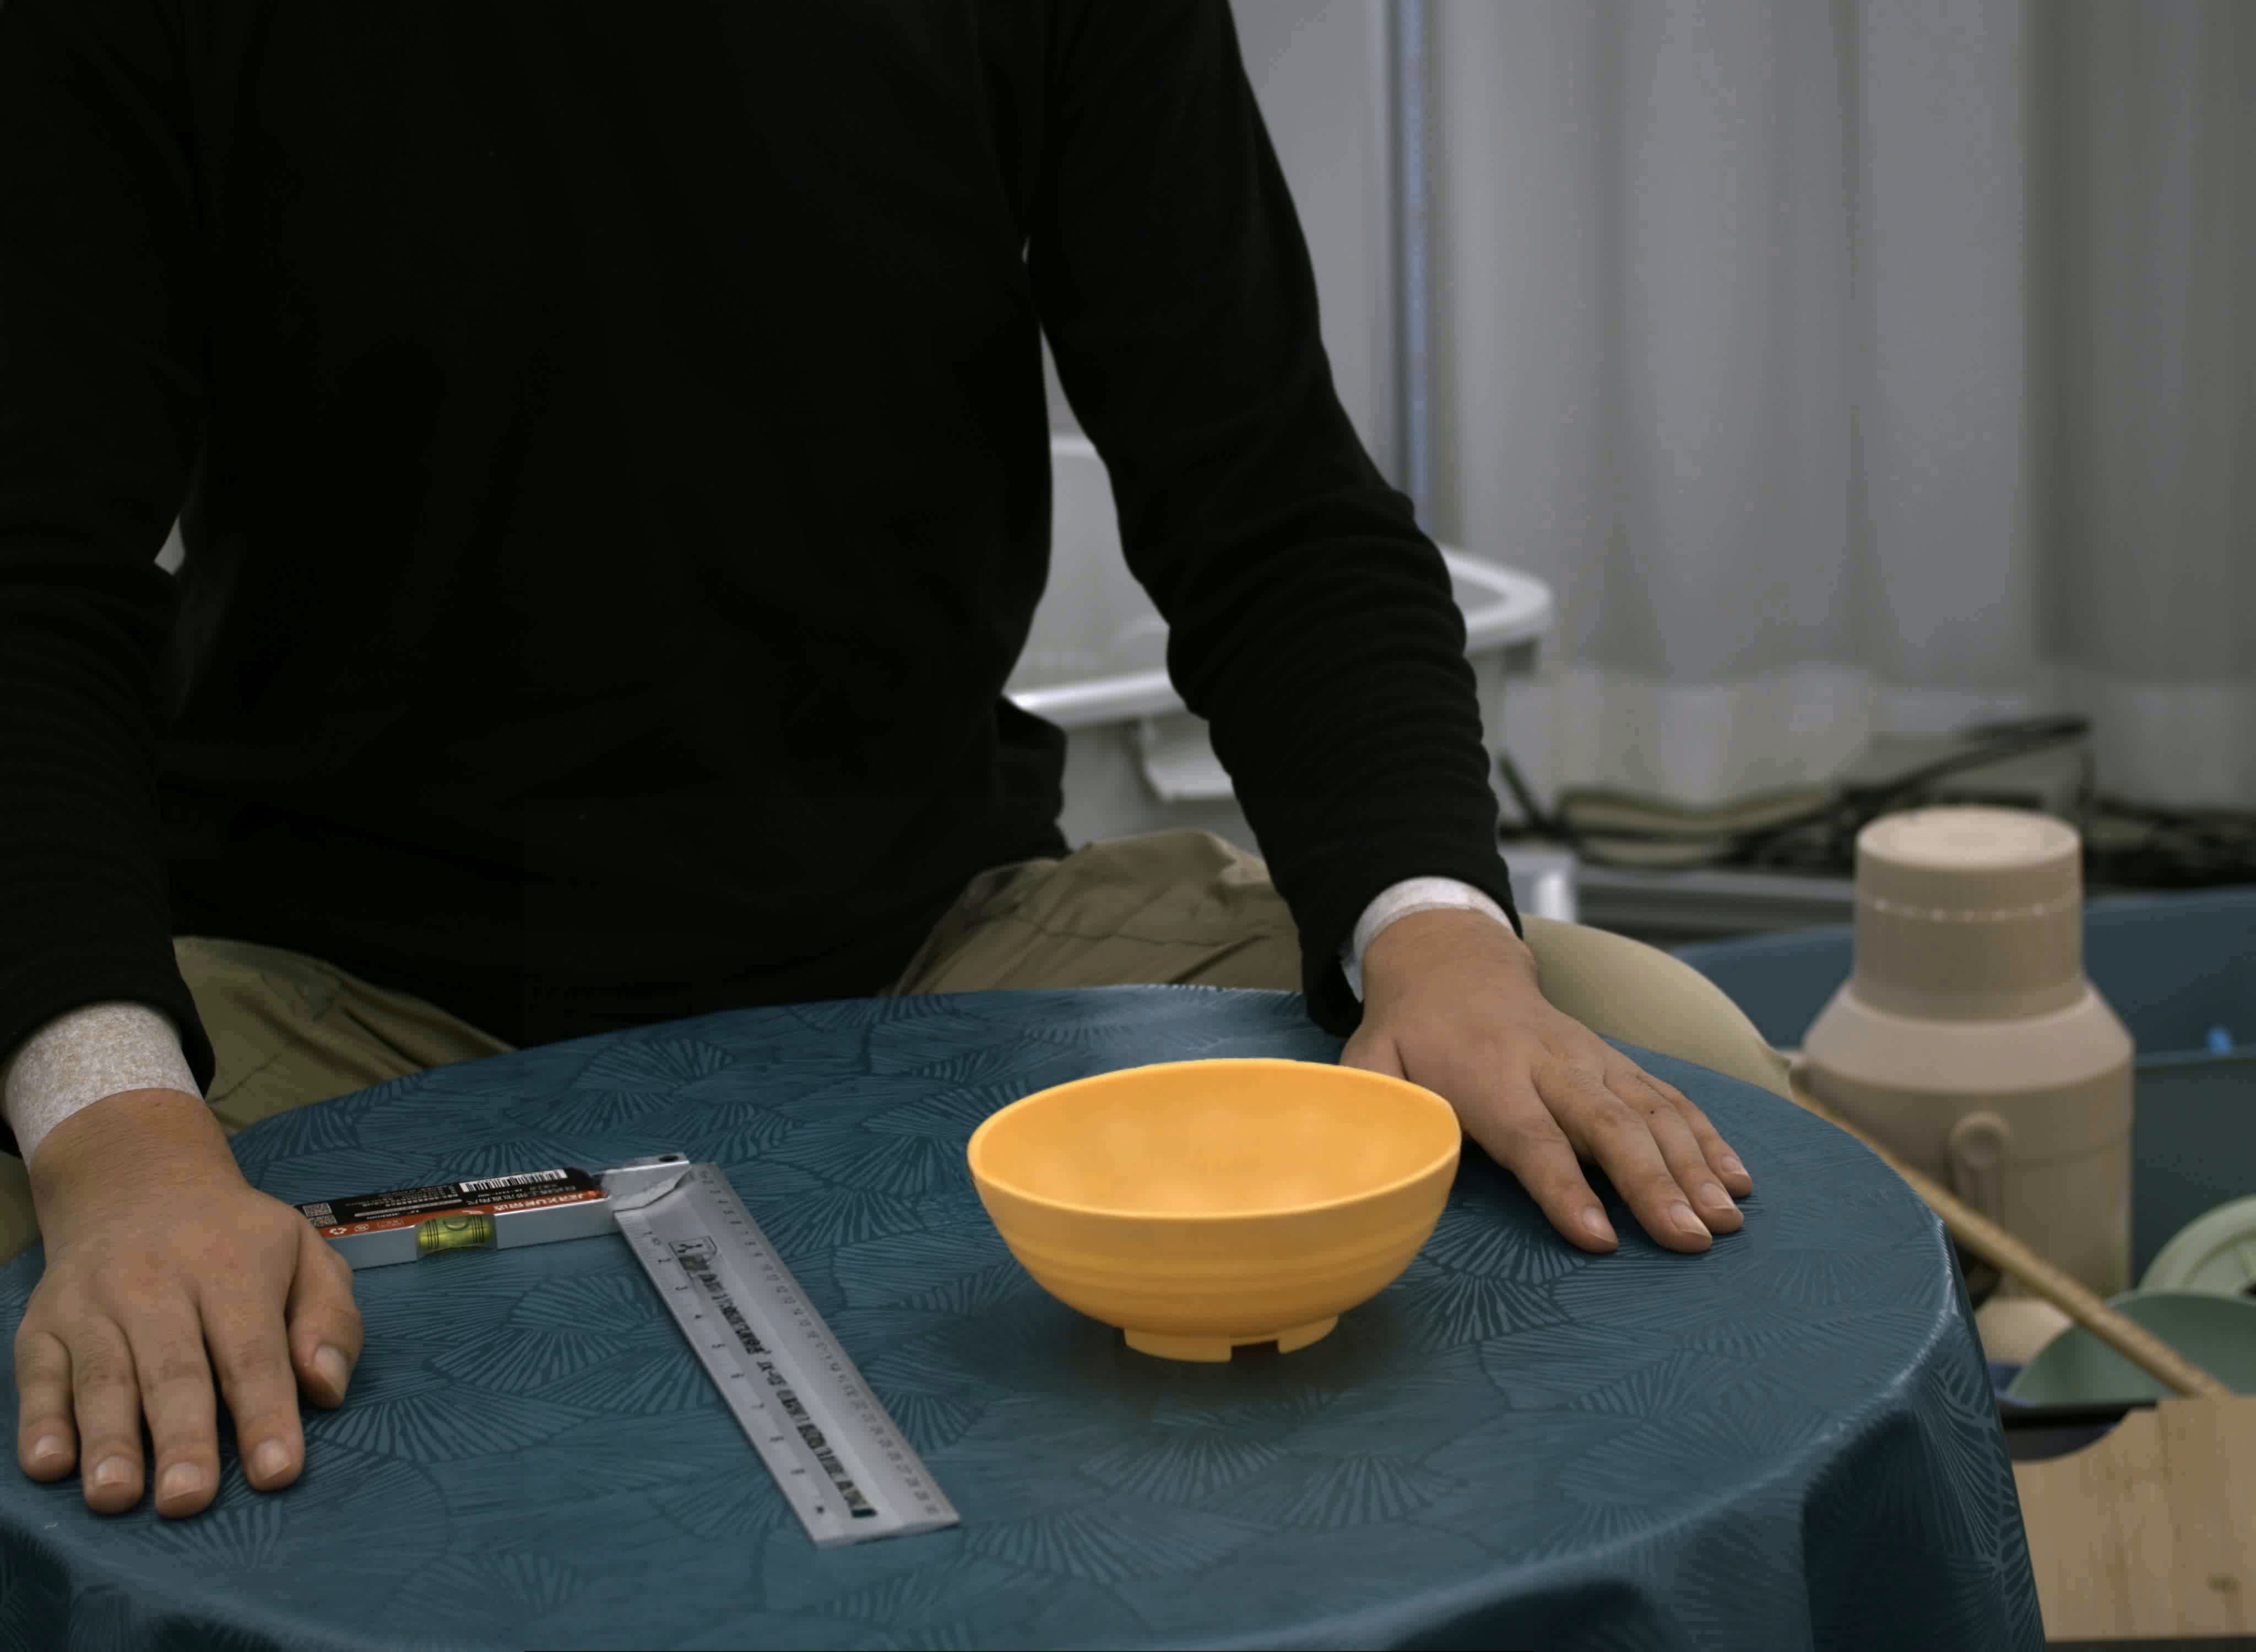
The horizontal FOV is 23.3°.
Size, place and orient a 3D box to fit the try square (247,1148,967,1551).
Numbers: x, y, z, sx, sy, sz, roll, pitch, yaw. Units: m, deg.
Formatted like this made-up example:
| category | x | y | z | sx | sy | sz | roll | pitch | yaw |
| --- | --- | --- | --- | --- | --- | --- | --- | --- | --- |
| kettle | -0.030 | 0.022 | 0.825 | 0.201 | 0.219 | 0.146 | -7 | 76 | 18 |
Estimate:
| category | x | y | z | sx | sy | sz | roll | pitch | yaw |
| --- | --- | --- | --- | --- | --- | --- | --- | --- | --- |
| try square | -0.158 | 0.158 | 1.579 | 0.152 | 0.016 | 0.315 | -11 | 17 | -14 |

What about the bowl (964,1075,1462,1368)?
| category | x | y | z | sx | sy | sz | roll | pitch | yaw |
| --- | --- | --- | --- | --- | --- | --- | --- | --- | --- |
| bowl | 0.025 | 0.119 | 1.587 | 0.145 | 0.060 | 0.146 | -1 | 12 | 0 |
